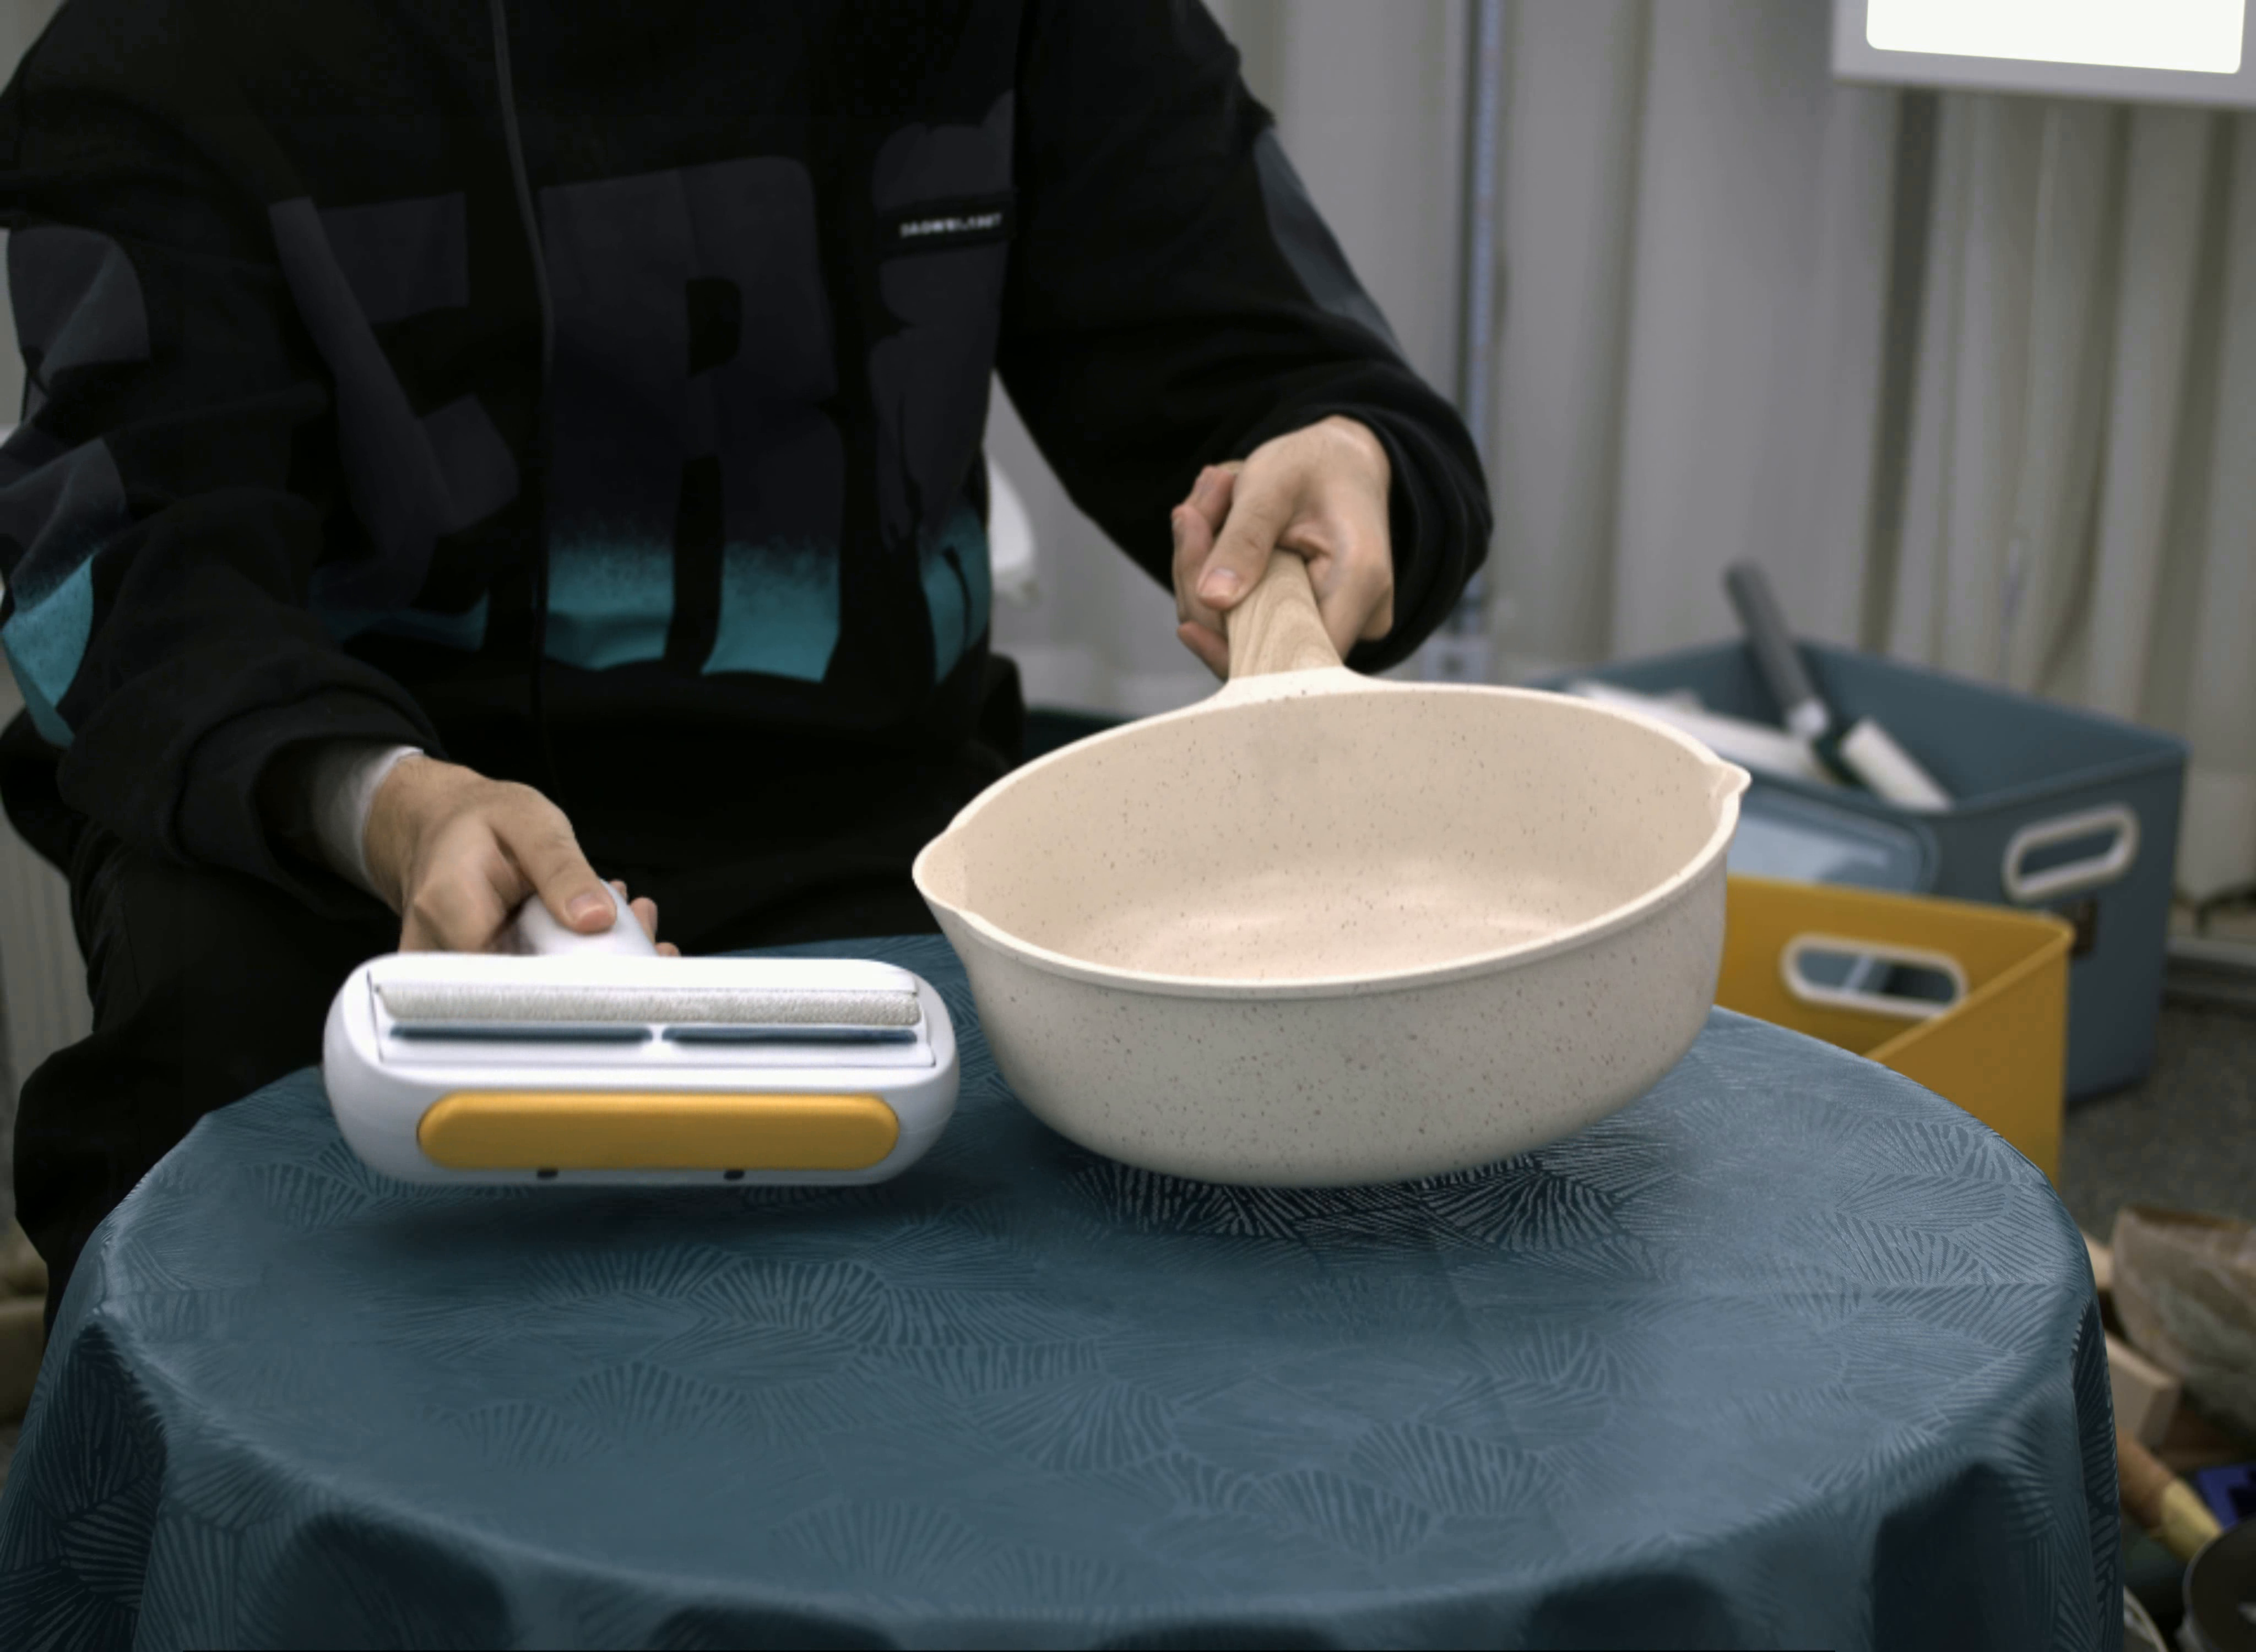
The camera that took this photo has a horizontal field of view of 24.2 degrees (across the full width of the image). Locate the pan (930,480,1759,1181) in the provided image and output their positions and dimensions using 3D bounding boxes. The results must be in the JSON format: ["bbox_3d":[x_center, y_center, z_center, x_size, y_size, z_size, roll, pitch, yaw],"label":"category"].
[{"bbox_3d":[0.064,-0.005,1.731,0.263,0.103,0.431,-9,21,-2],"label":"pan"}]

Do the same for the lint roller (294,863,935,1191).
[{"bbox_3d":[-0.164,0.049,1.635,0.193,0.075,0.190,0,30,-12],"label":"lint roller"}]
